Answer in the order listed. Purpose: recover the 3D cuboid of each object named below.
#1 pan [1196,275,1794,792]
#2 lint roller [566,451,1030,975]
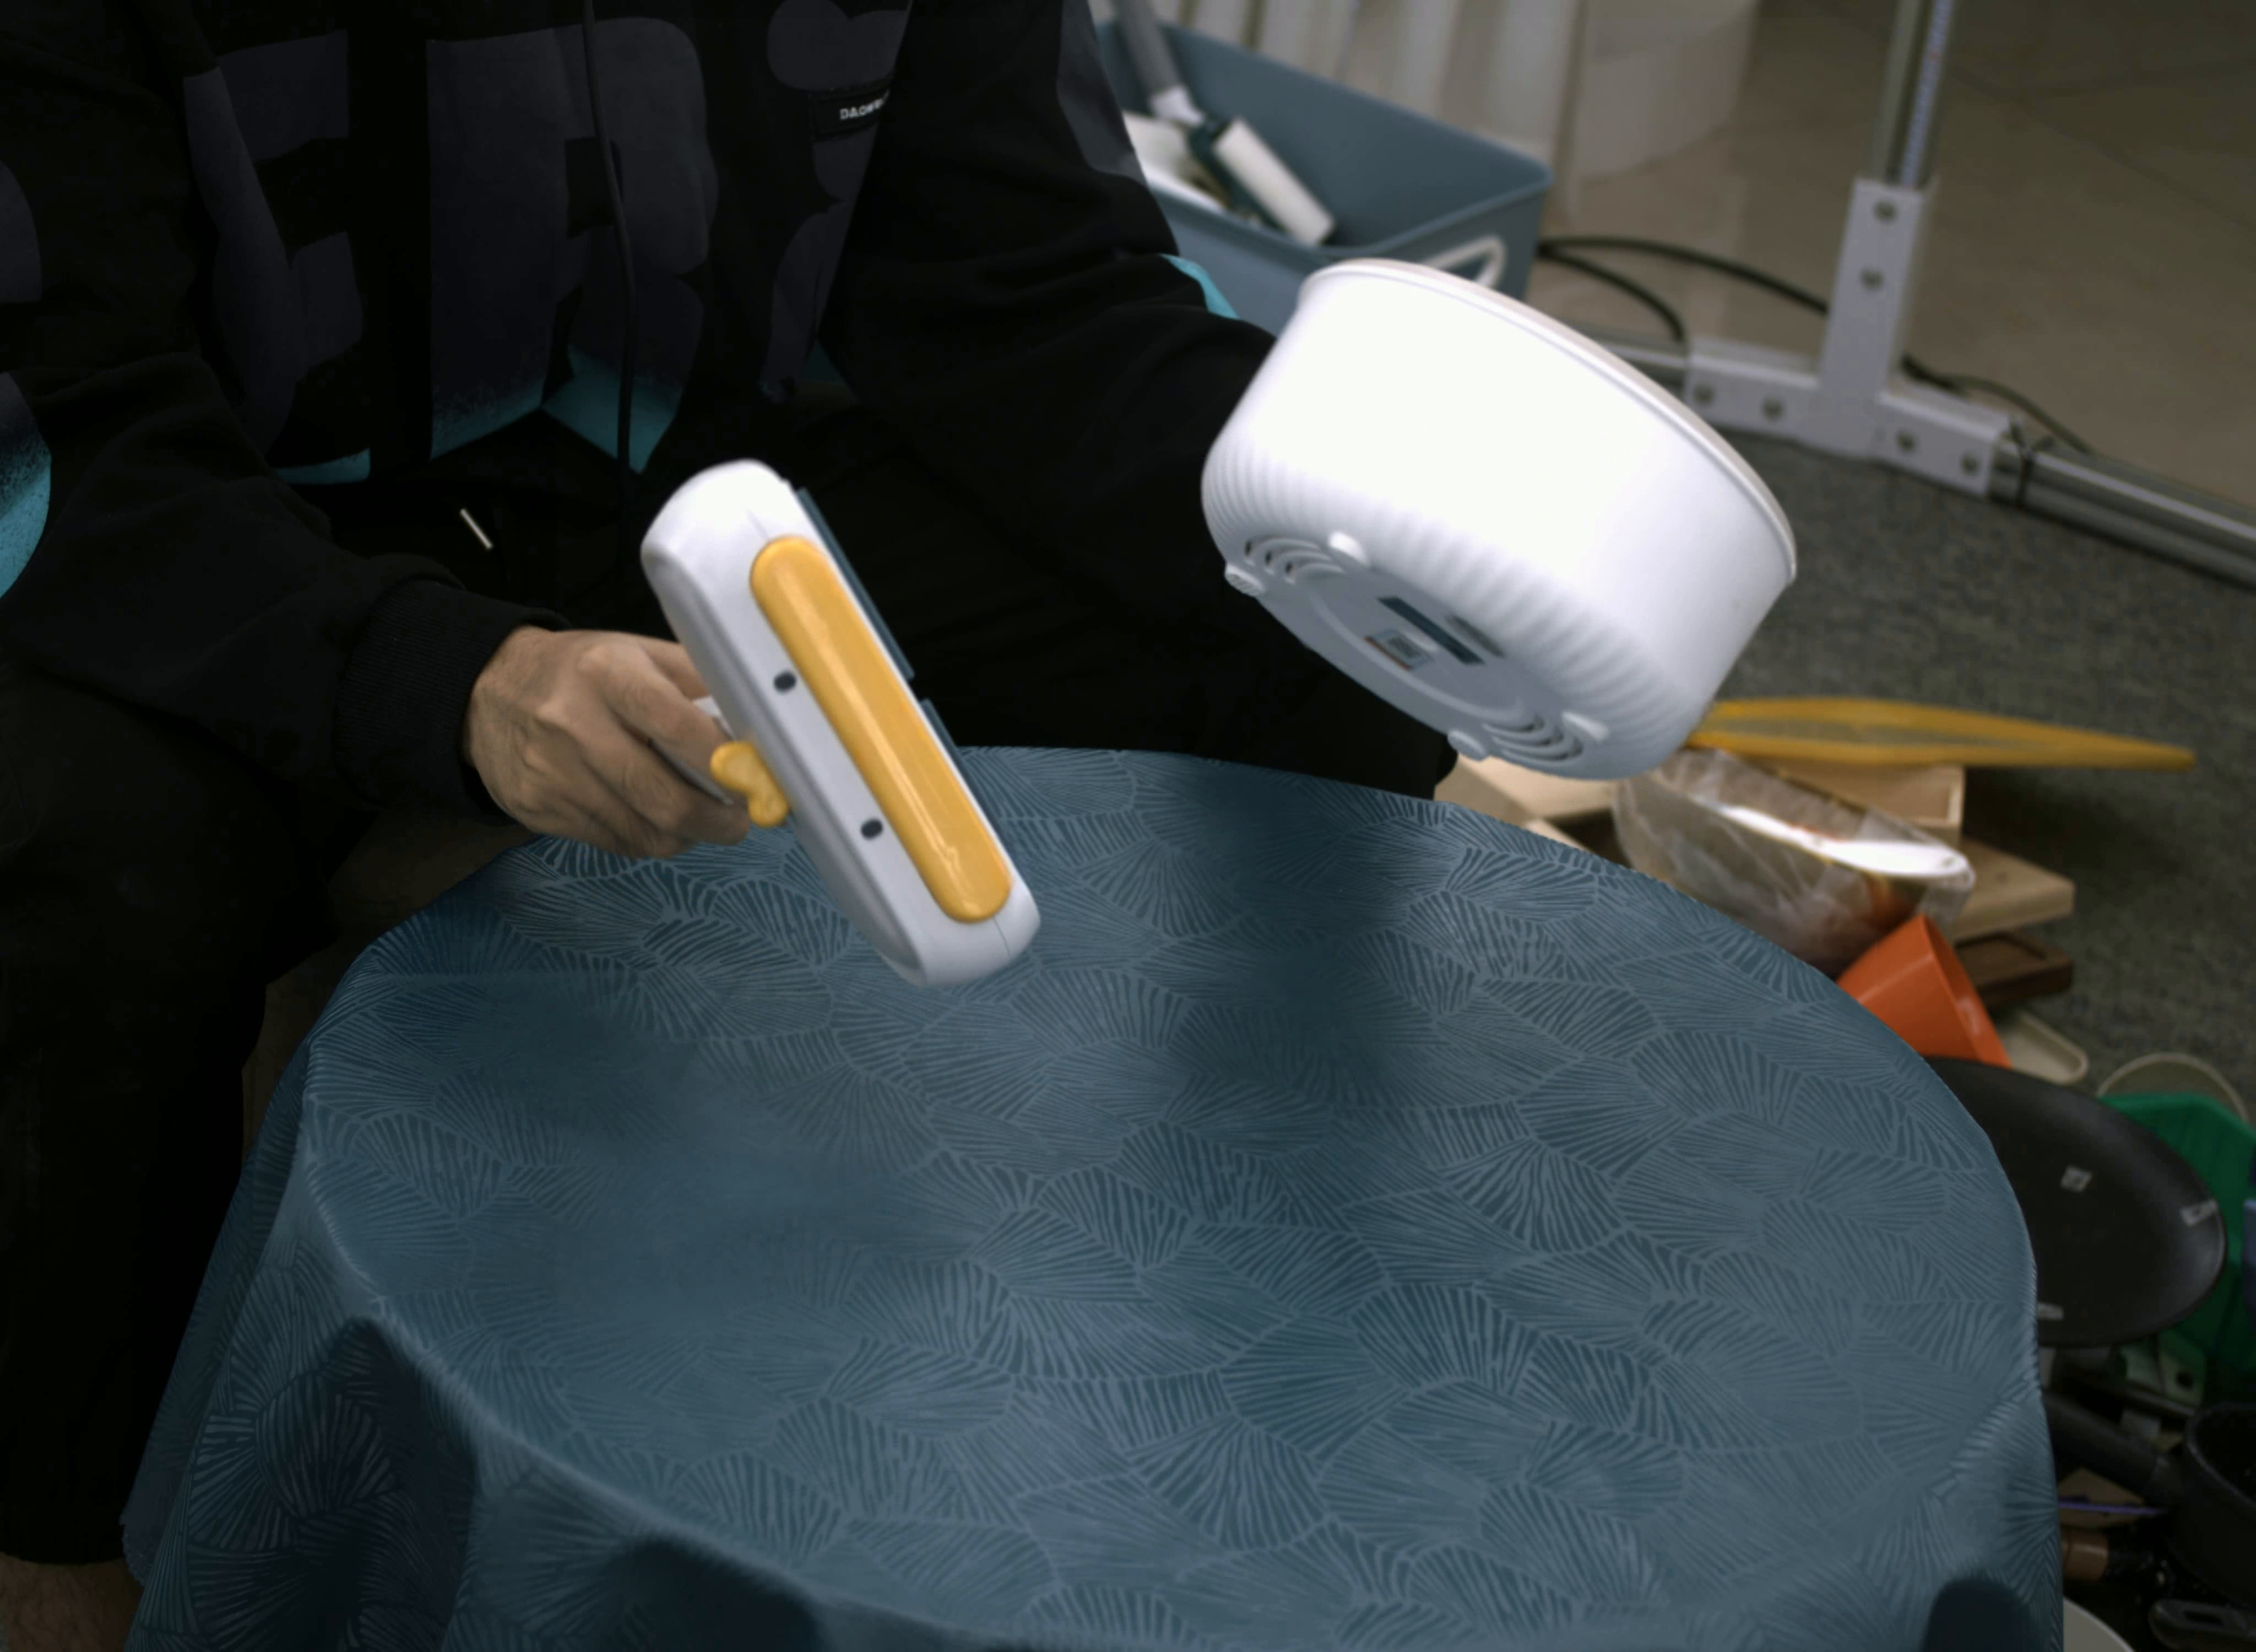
[{"bbox_3d":[0.095,-0.090,1.924,0.200,0.102,0.356,34,-14,-15],"label":"pan"},{"bbox_3d":[-0.131,-0.028,1.804,0.074,0.192,0.193,-42,15,-22],"label":"lint roller"}]
